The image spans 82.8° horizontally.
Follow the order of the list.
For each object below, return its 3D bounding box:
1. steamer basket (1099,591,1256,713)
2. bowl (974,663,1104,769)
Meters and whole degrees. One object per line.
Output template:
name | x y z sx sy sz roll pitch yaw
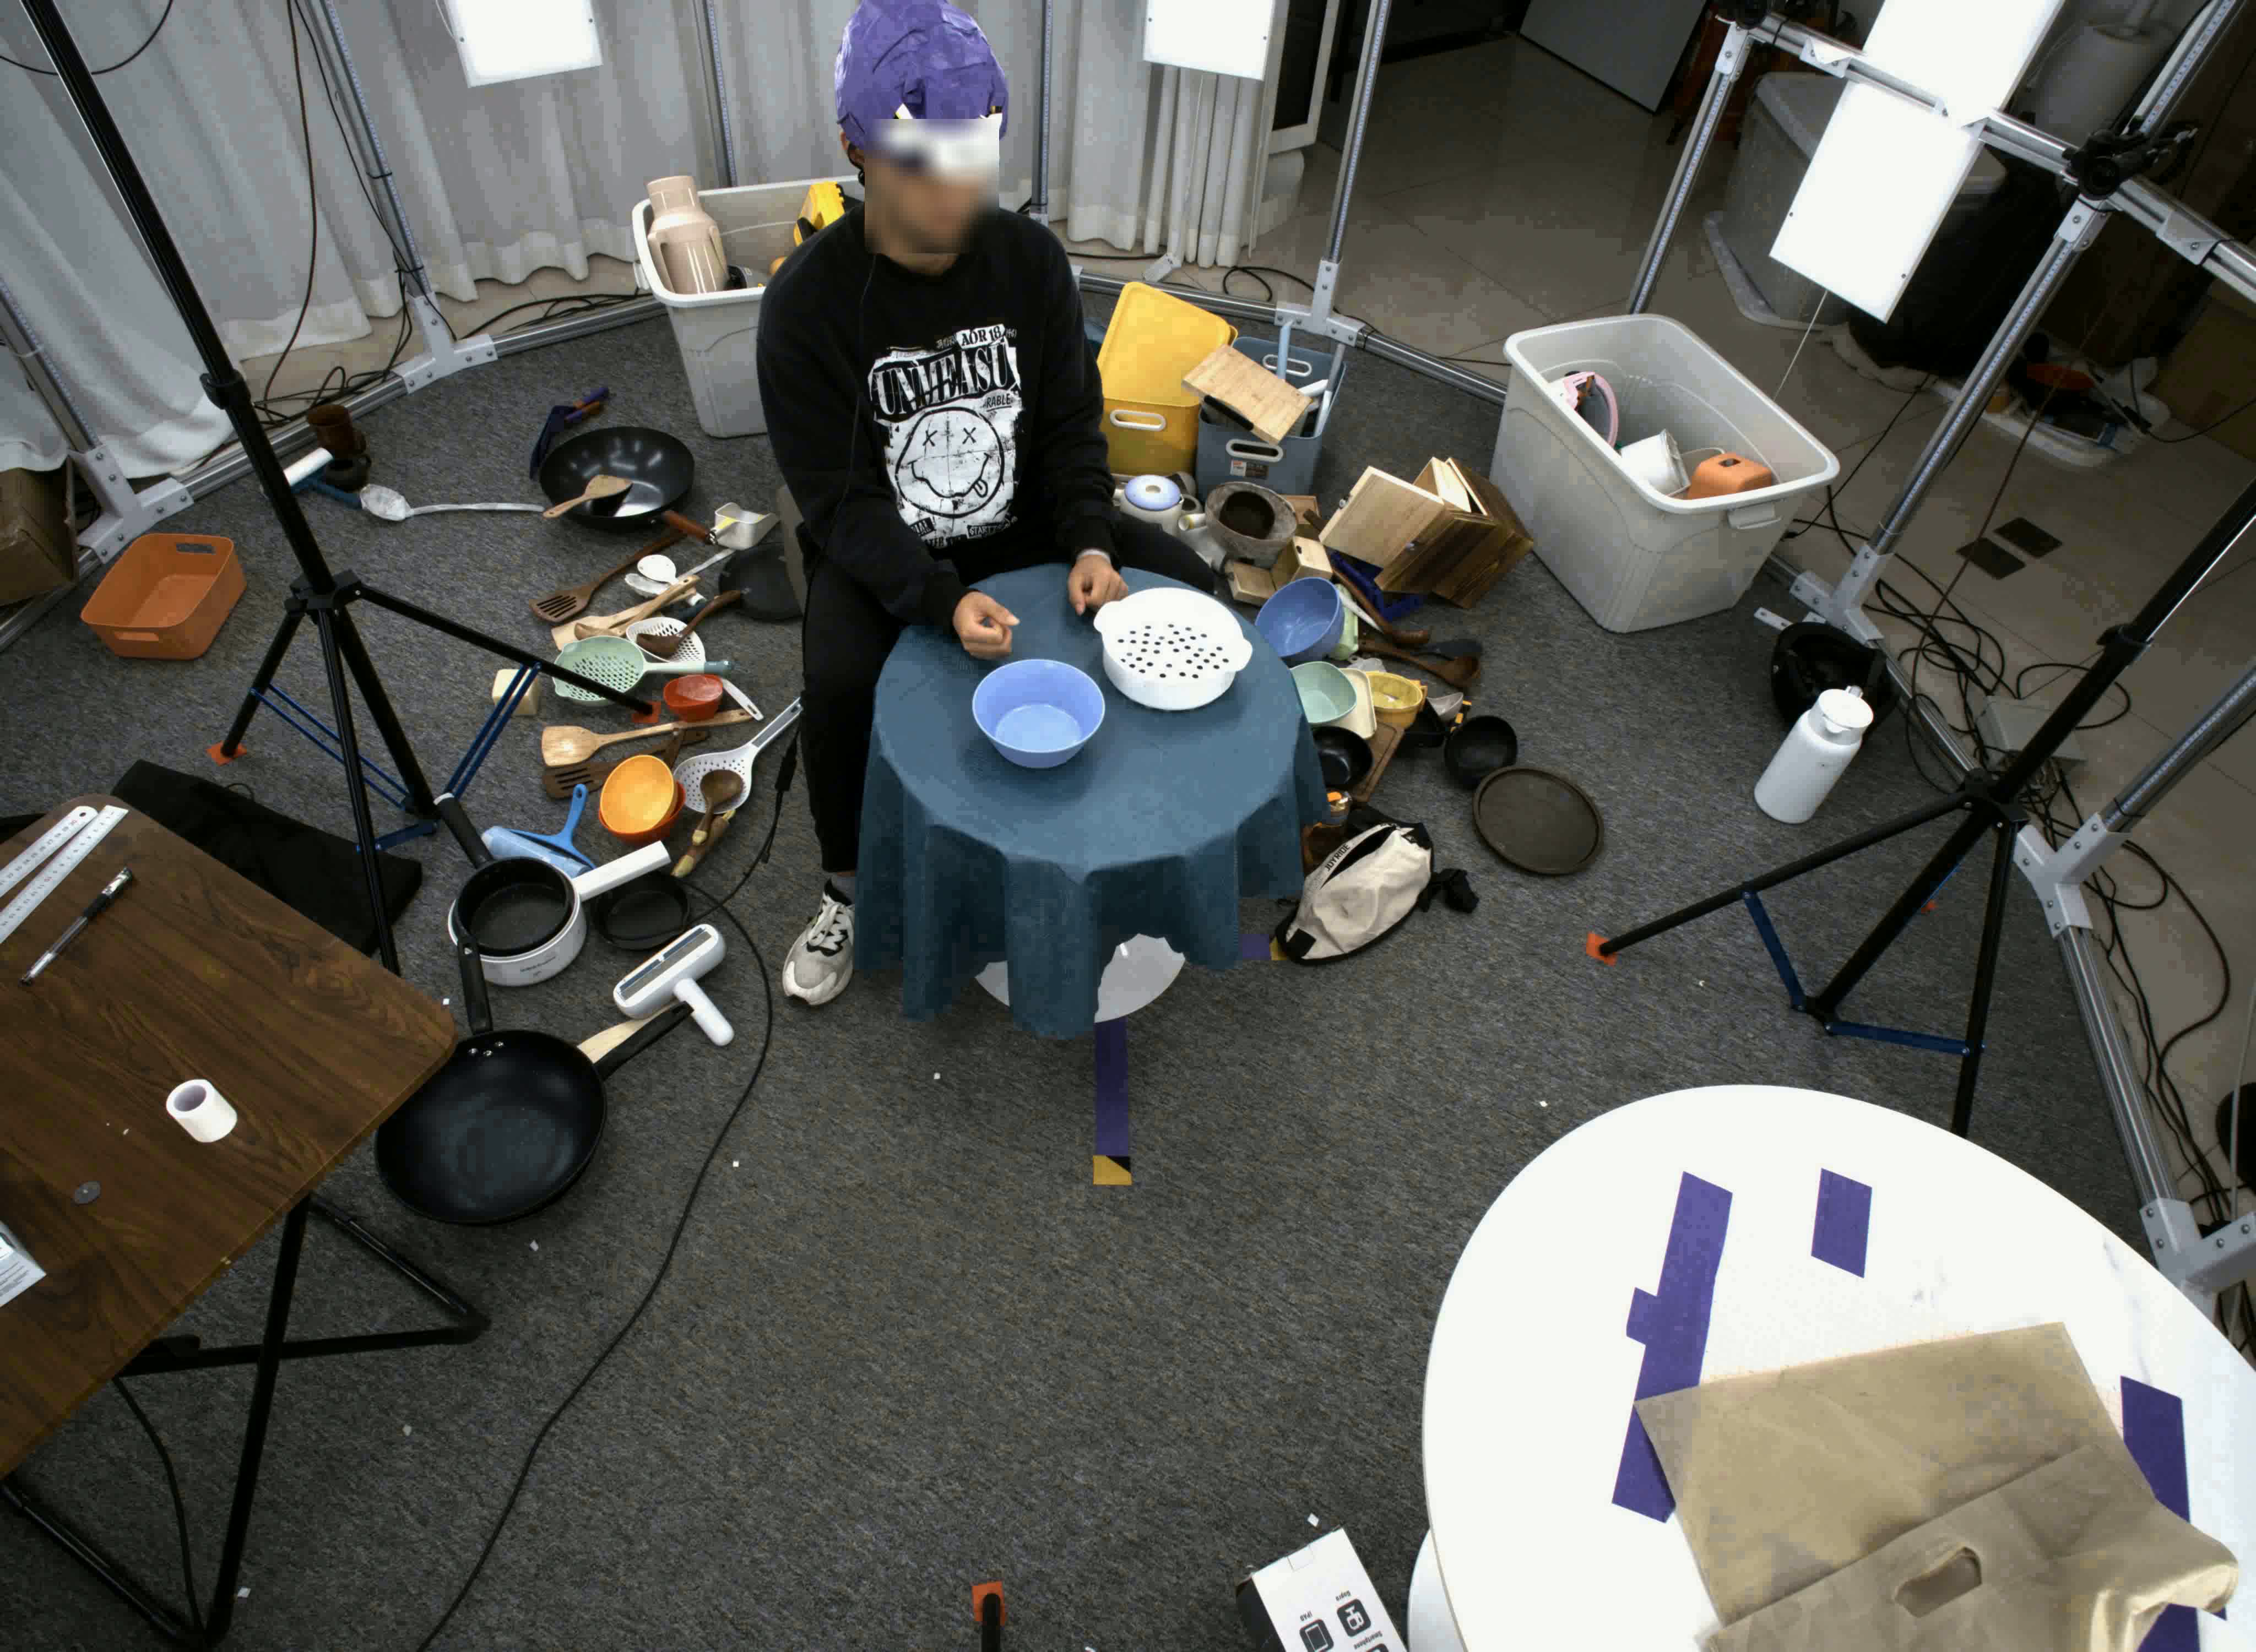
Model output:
steamer basket | 0.068 -0.252 1.864 0.231 0.067 0.206 19 50 10
bowl | -0.122 -0.141 1.753 0.176 0.068 0.180 2 48 -3
